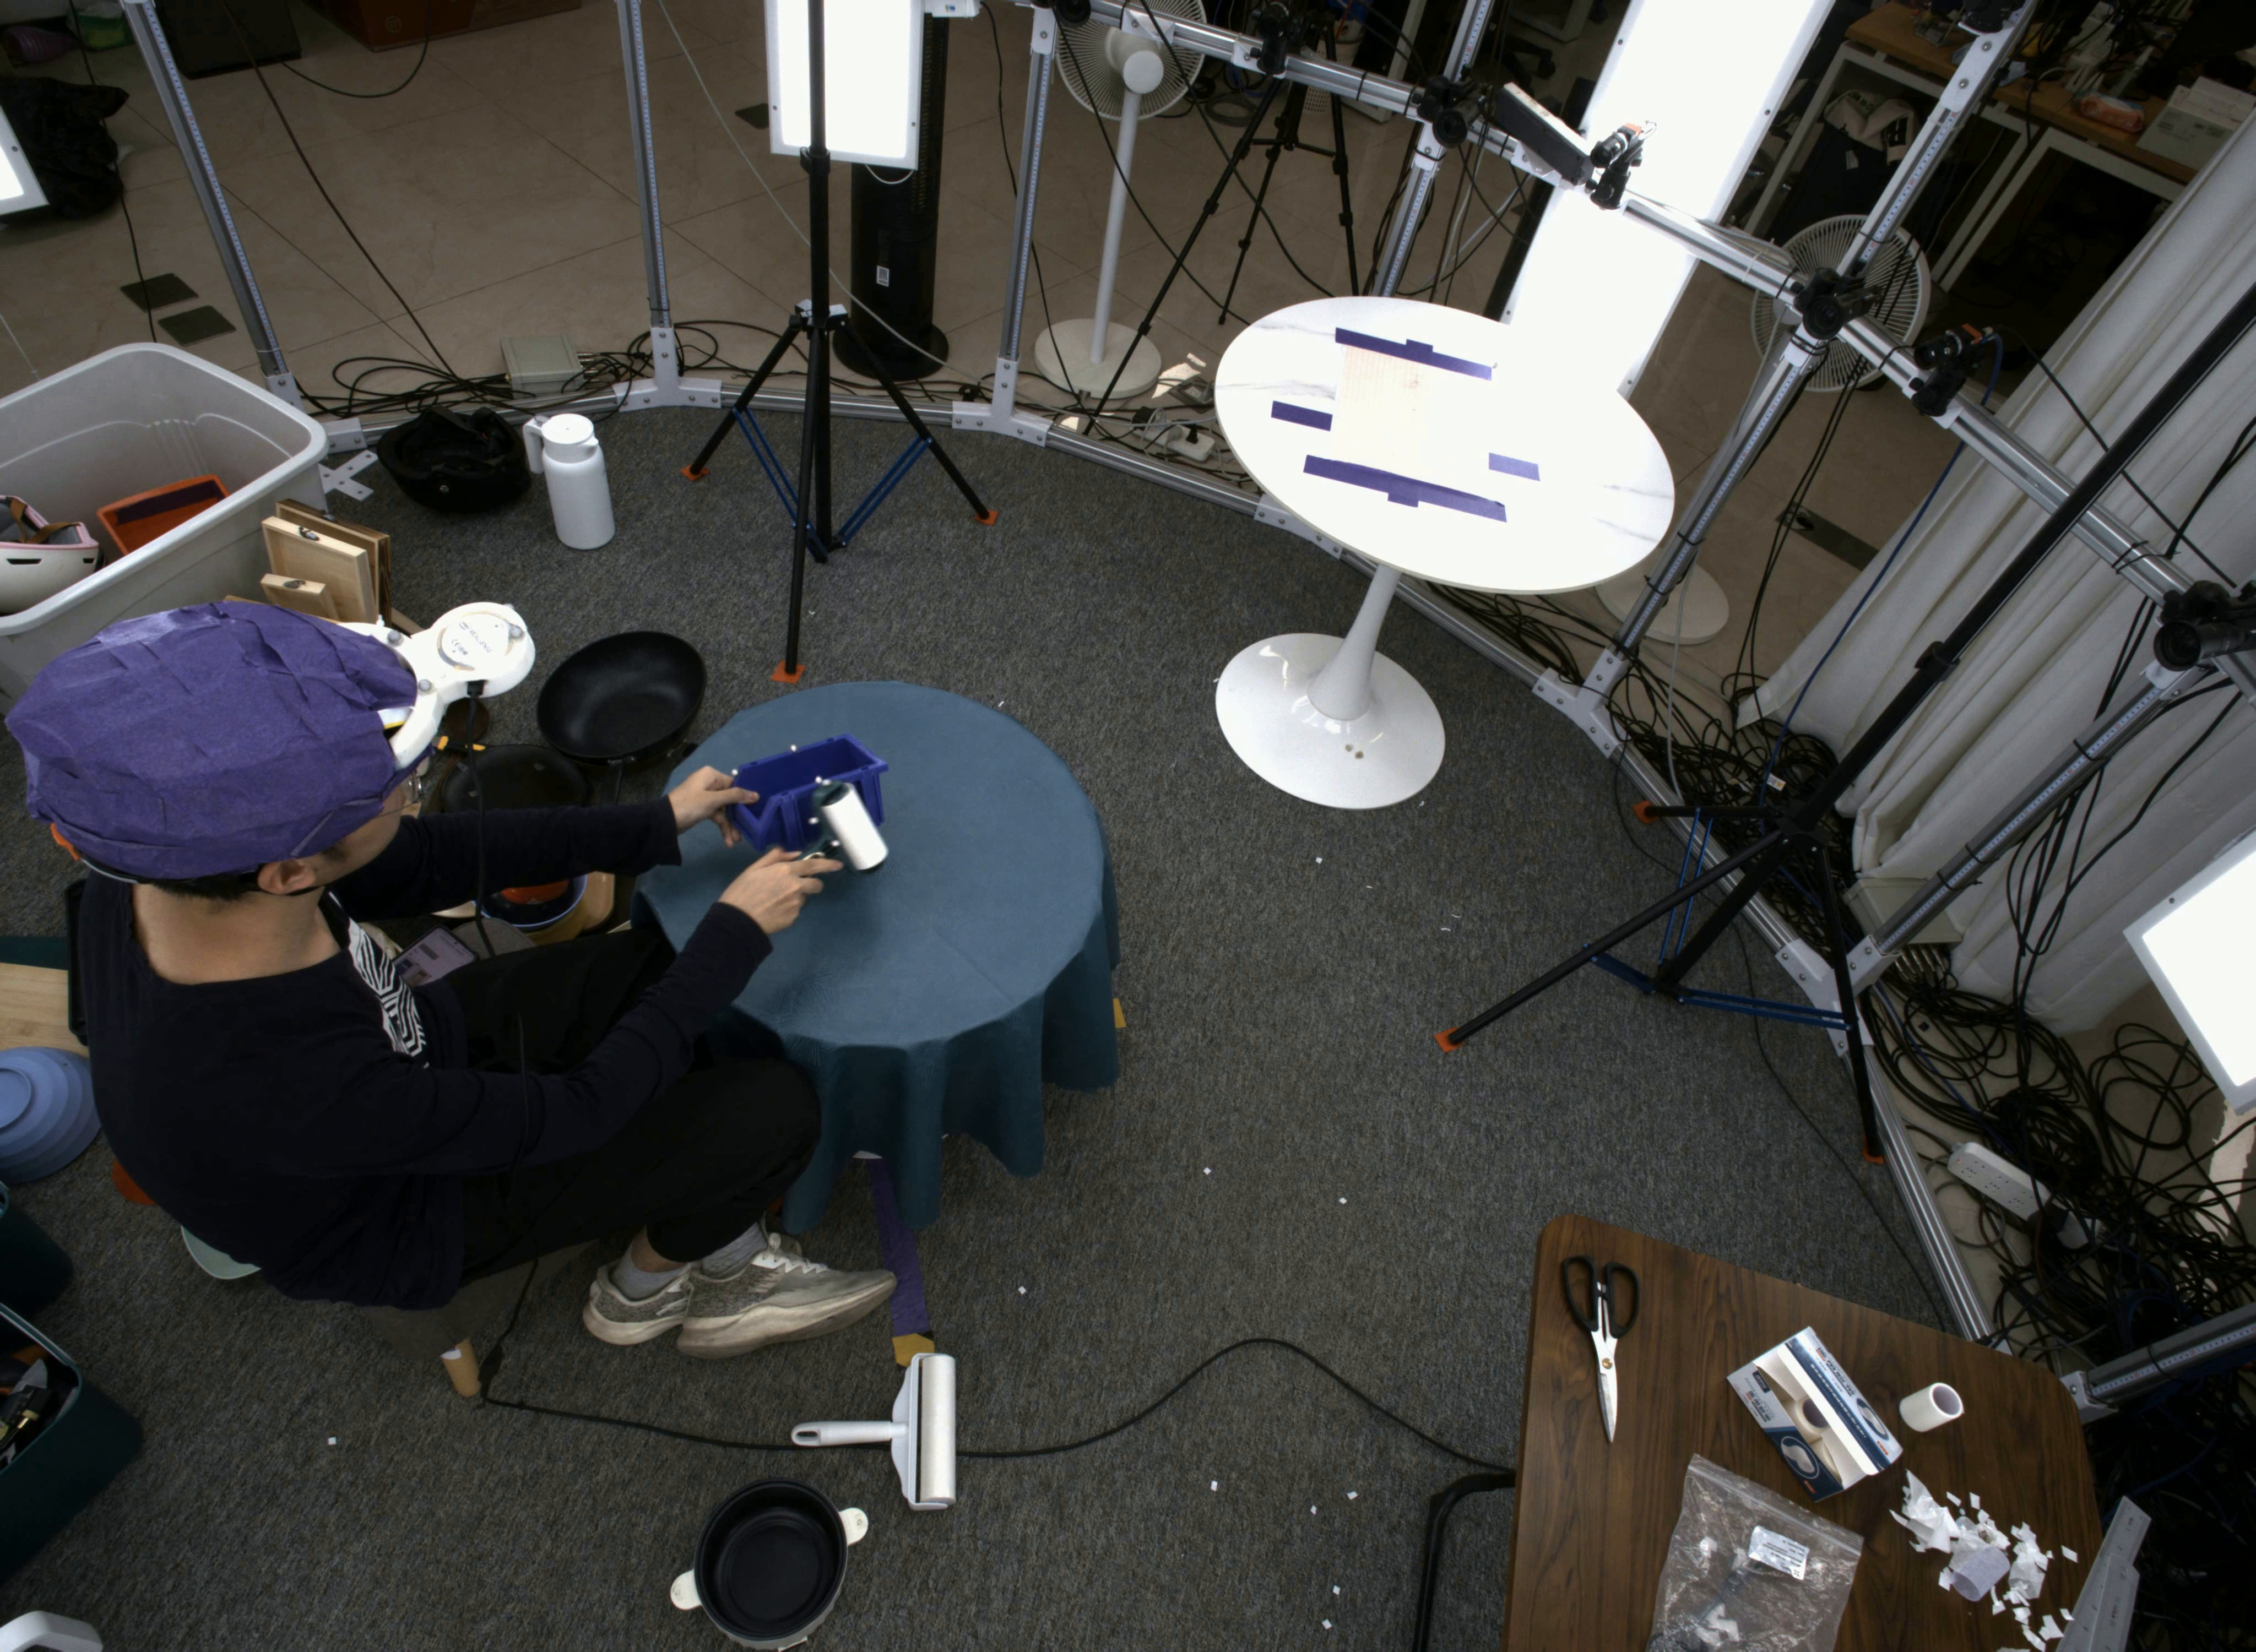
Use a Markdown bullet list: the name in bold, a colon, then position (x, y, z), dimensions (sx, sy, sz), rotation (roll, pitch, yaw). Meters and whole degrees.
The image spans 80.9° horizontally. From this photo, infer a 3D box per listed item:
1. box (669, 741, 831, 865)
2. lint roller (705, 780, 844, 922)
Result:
- **box**: position (-0.466, -0.026, 1.596), dimensions (0.180, 0.084, 0.119), rotation (-20, 34, -30)
- **lint roller**: position (-0.425, 0.048, 1.532), dimensions (0.046, 0.139, 0.180), rotation (10, 48, 38)
